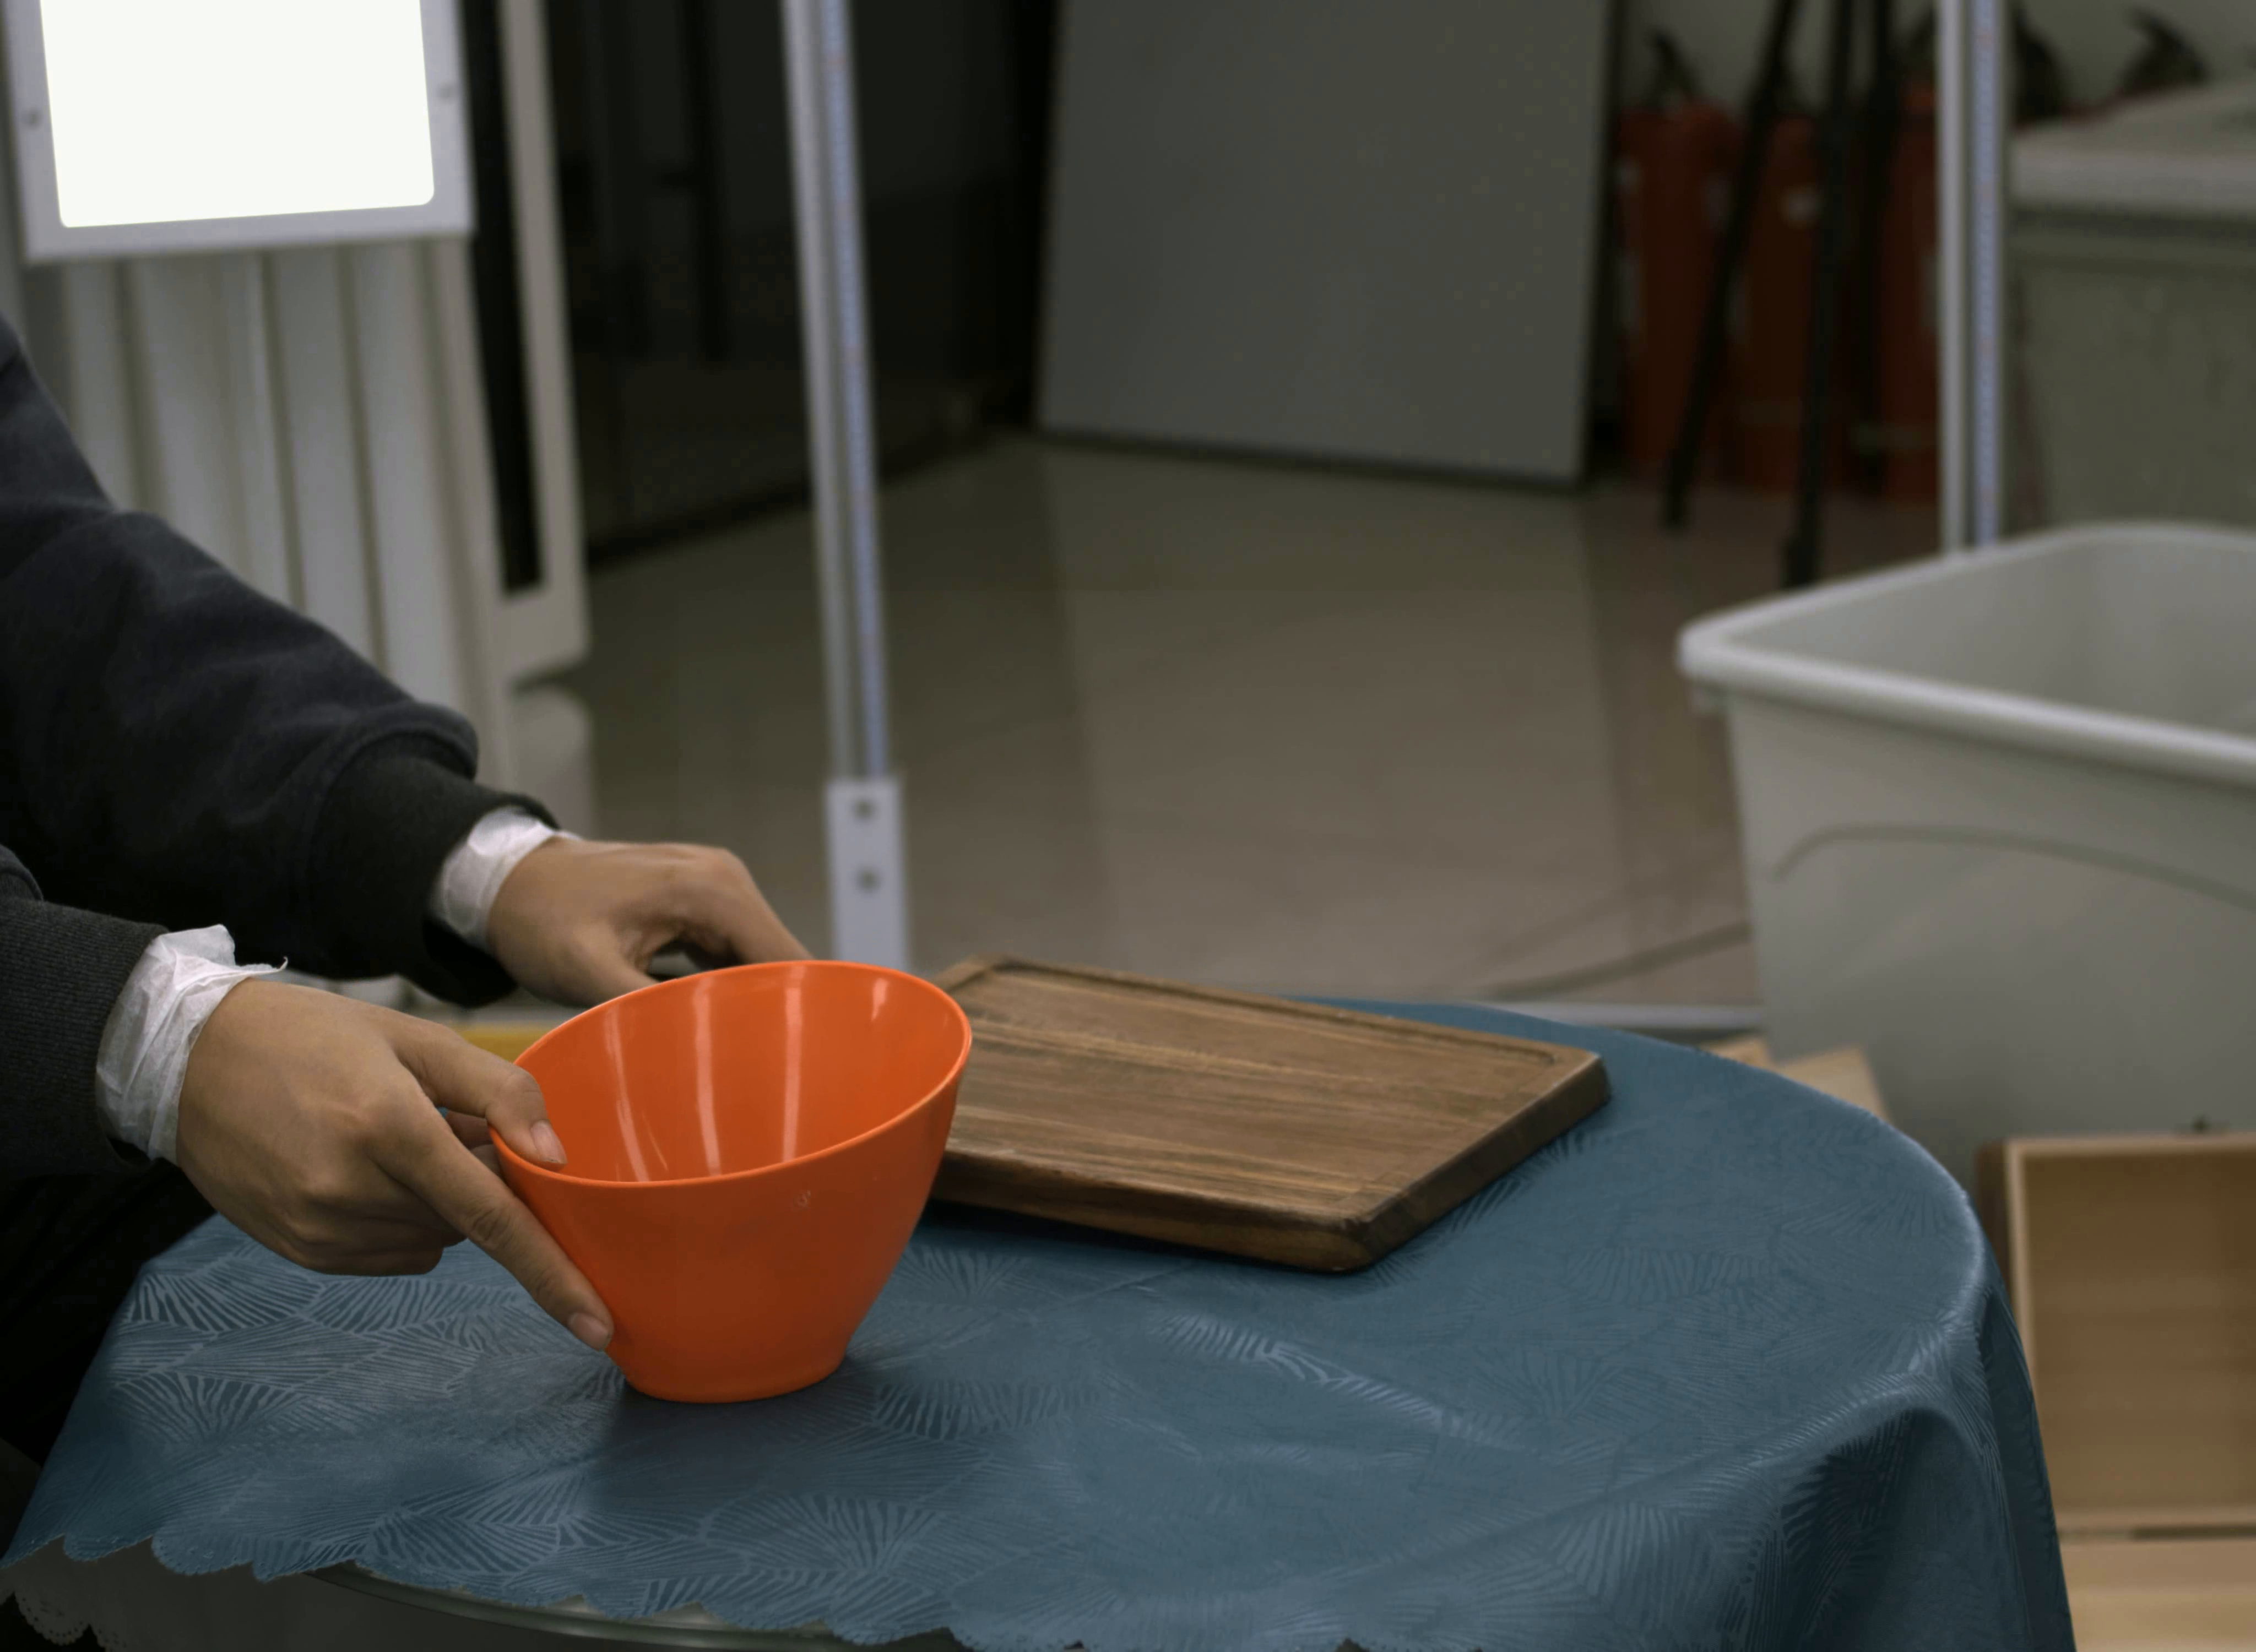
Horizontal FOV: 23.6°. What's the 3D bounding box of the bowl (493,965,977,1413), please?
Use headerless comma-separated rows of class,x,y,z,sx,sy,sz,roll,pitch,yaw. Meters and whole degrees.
bowl,-0.115,0.113,1.624,0.146,0.106,0.148,-5,14,0

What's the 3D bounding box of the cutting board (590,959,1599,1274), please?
cutting board,-0.033,0.087,1.831,0.353,0.023,0.198,8,18,29
